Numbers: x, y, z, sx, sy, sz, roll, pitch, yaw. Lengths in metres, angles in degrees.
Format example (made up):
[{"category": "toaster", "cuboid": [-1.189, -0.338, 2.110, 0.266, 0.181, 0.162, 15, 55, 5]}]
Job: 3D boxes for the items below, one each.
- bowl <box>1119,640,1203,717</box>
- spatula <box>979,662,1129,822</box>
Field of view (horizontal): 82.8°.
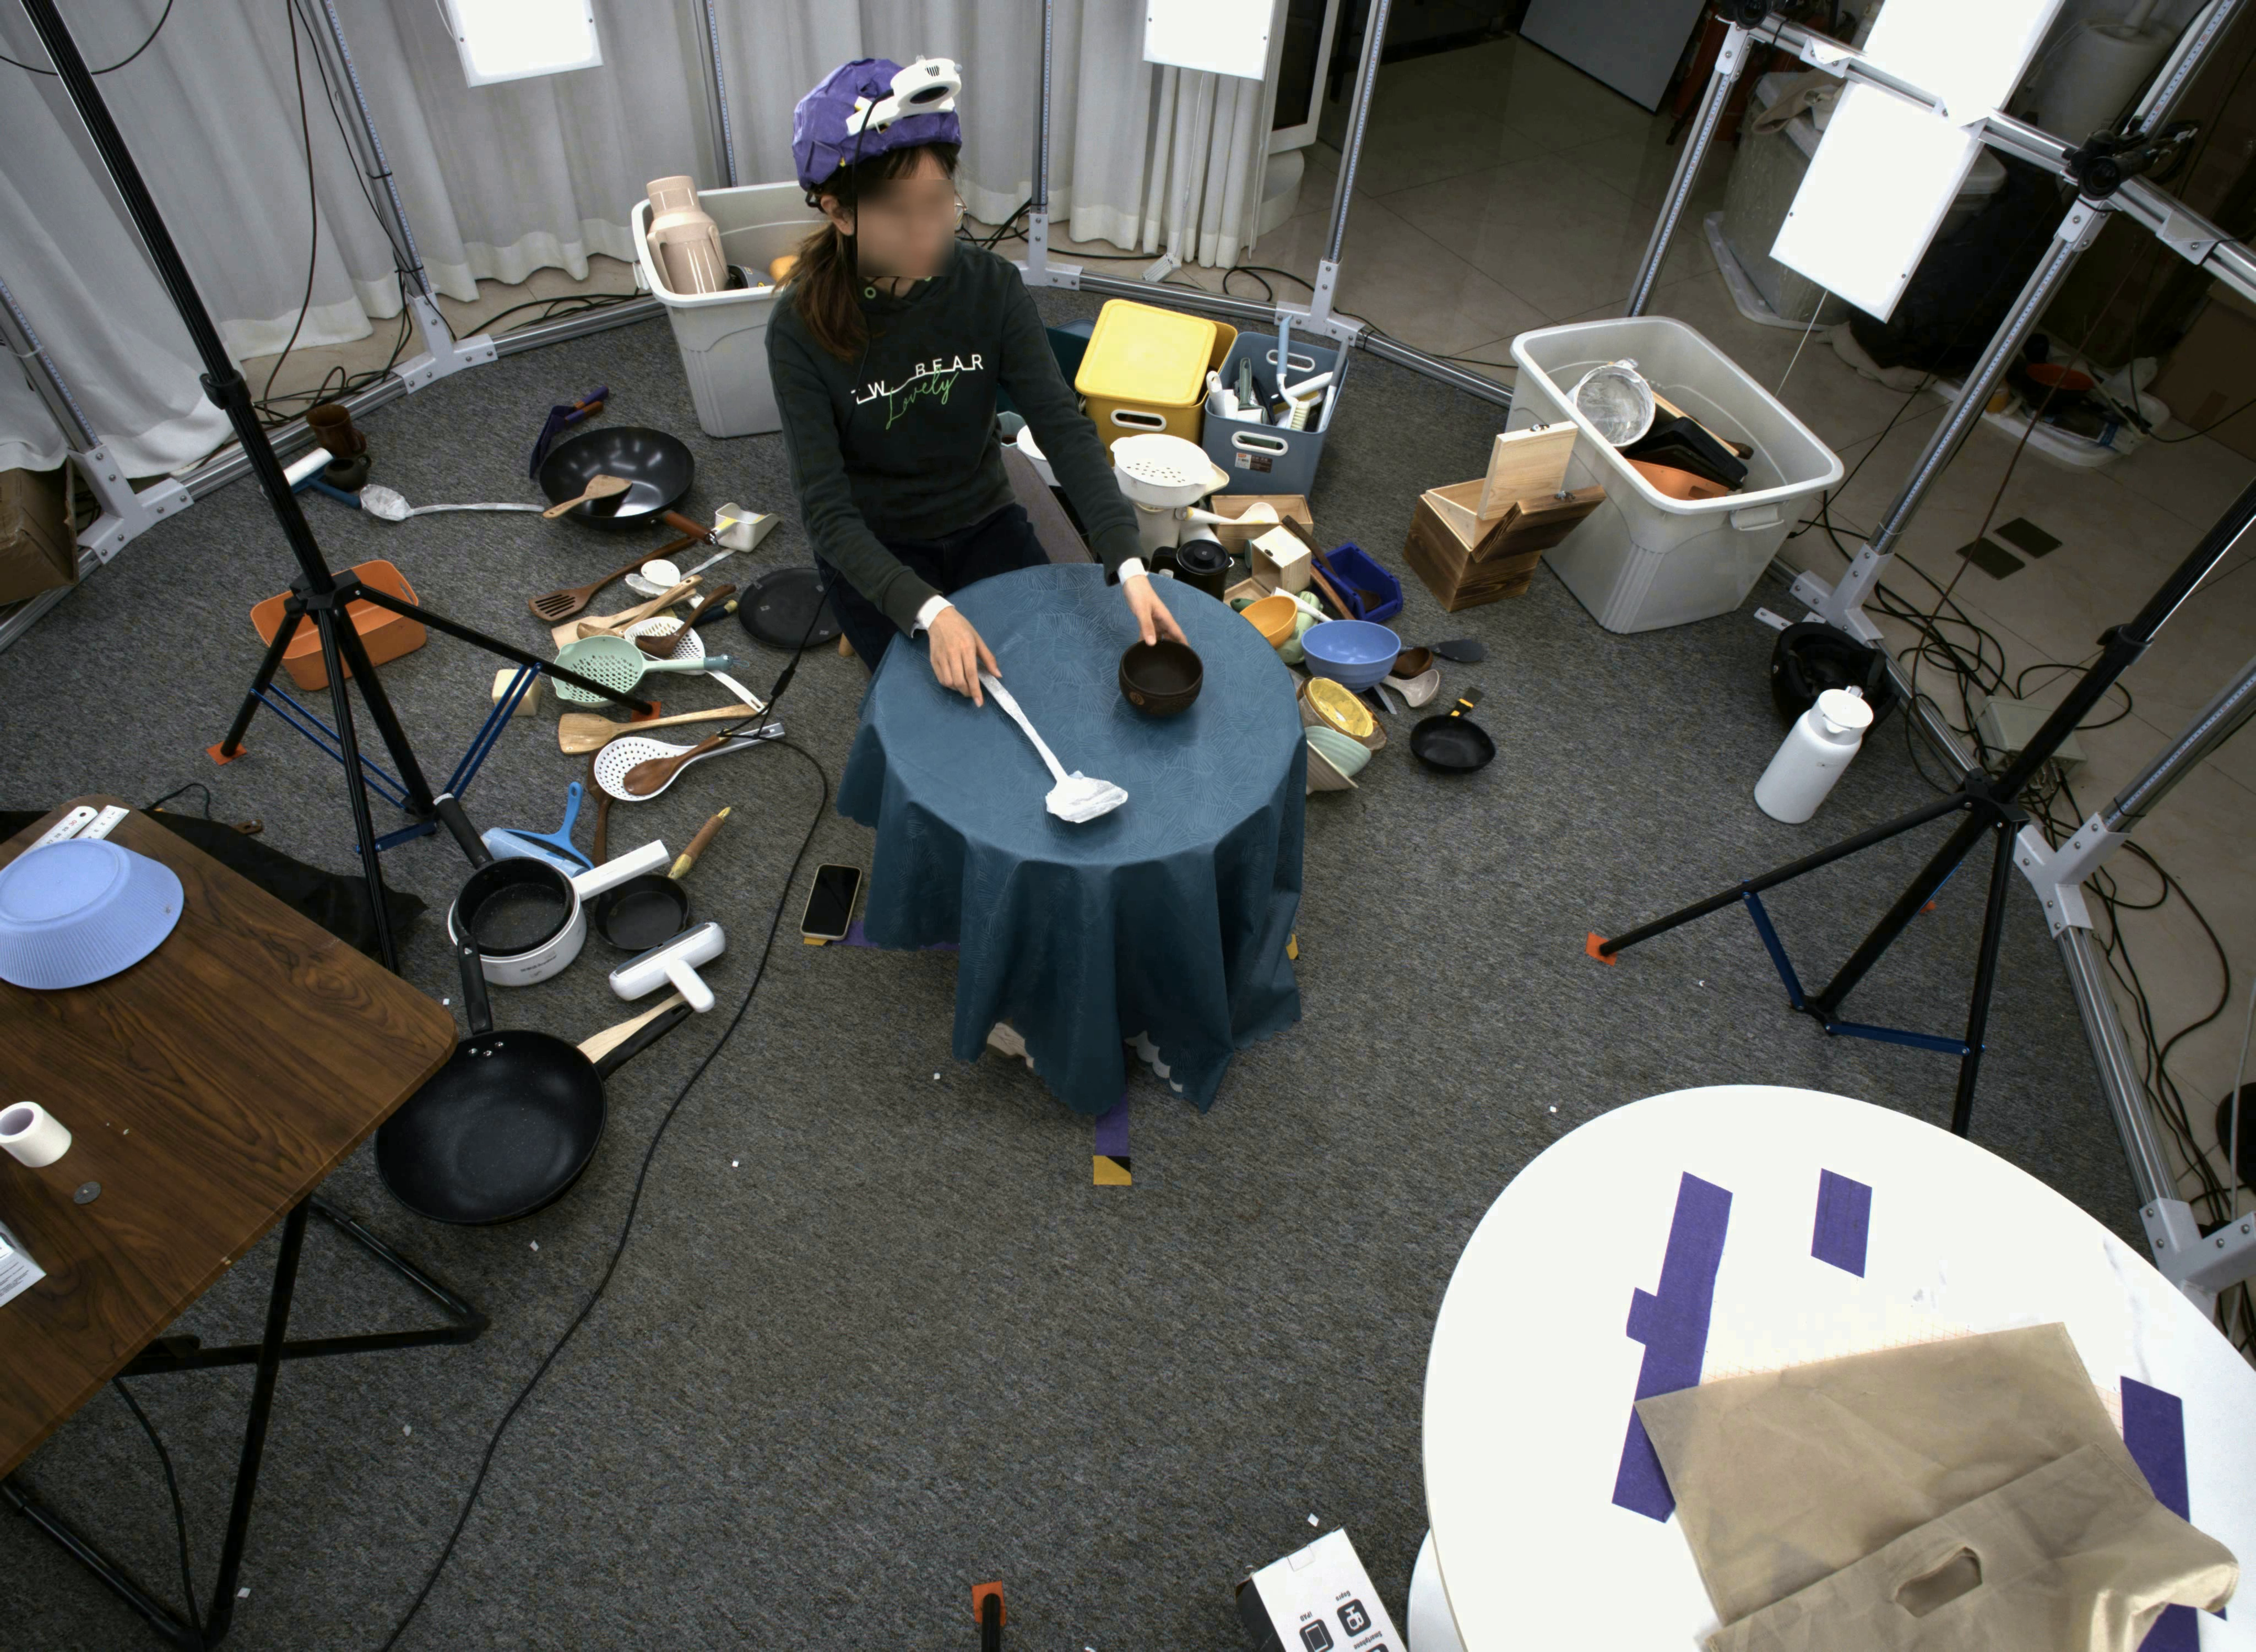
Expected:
[{"category": "bowl", "cuboid": [0.045, -0.201, 1.816, 0.118, 0.068, 0.121, 3, 47, -3]}, {"category": "spatula", "cuboid": [-0.124, -0.126, 1.761, 0.099, 0.043, 0.372, -23, 54, -20]}]
